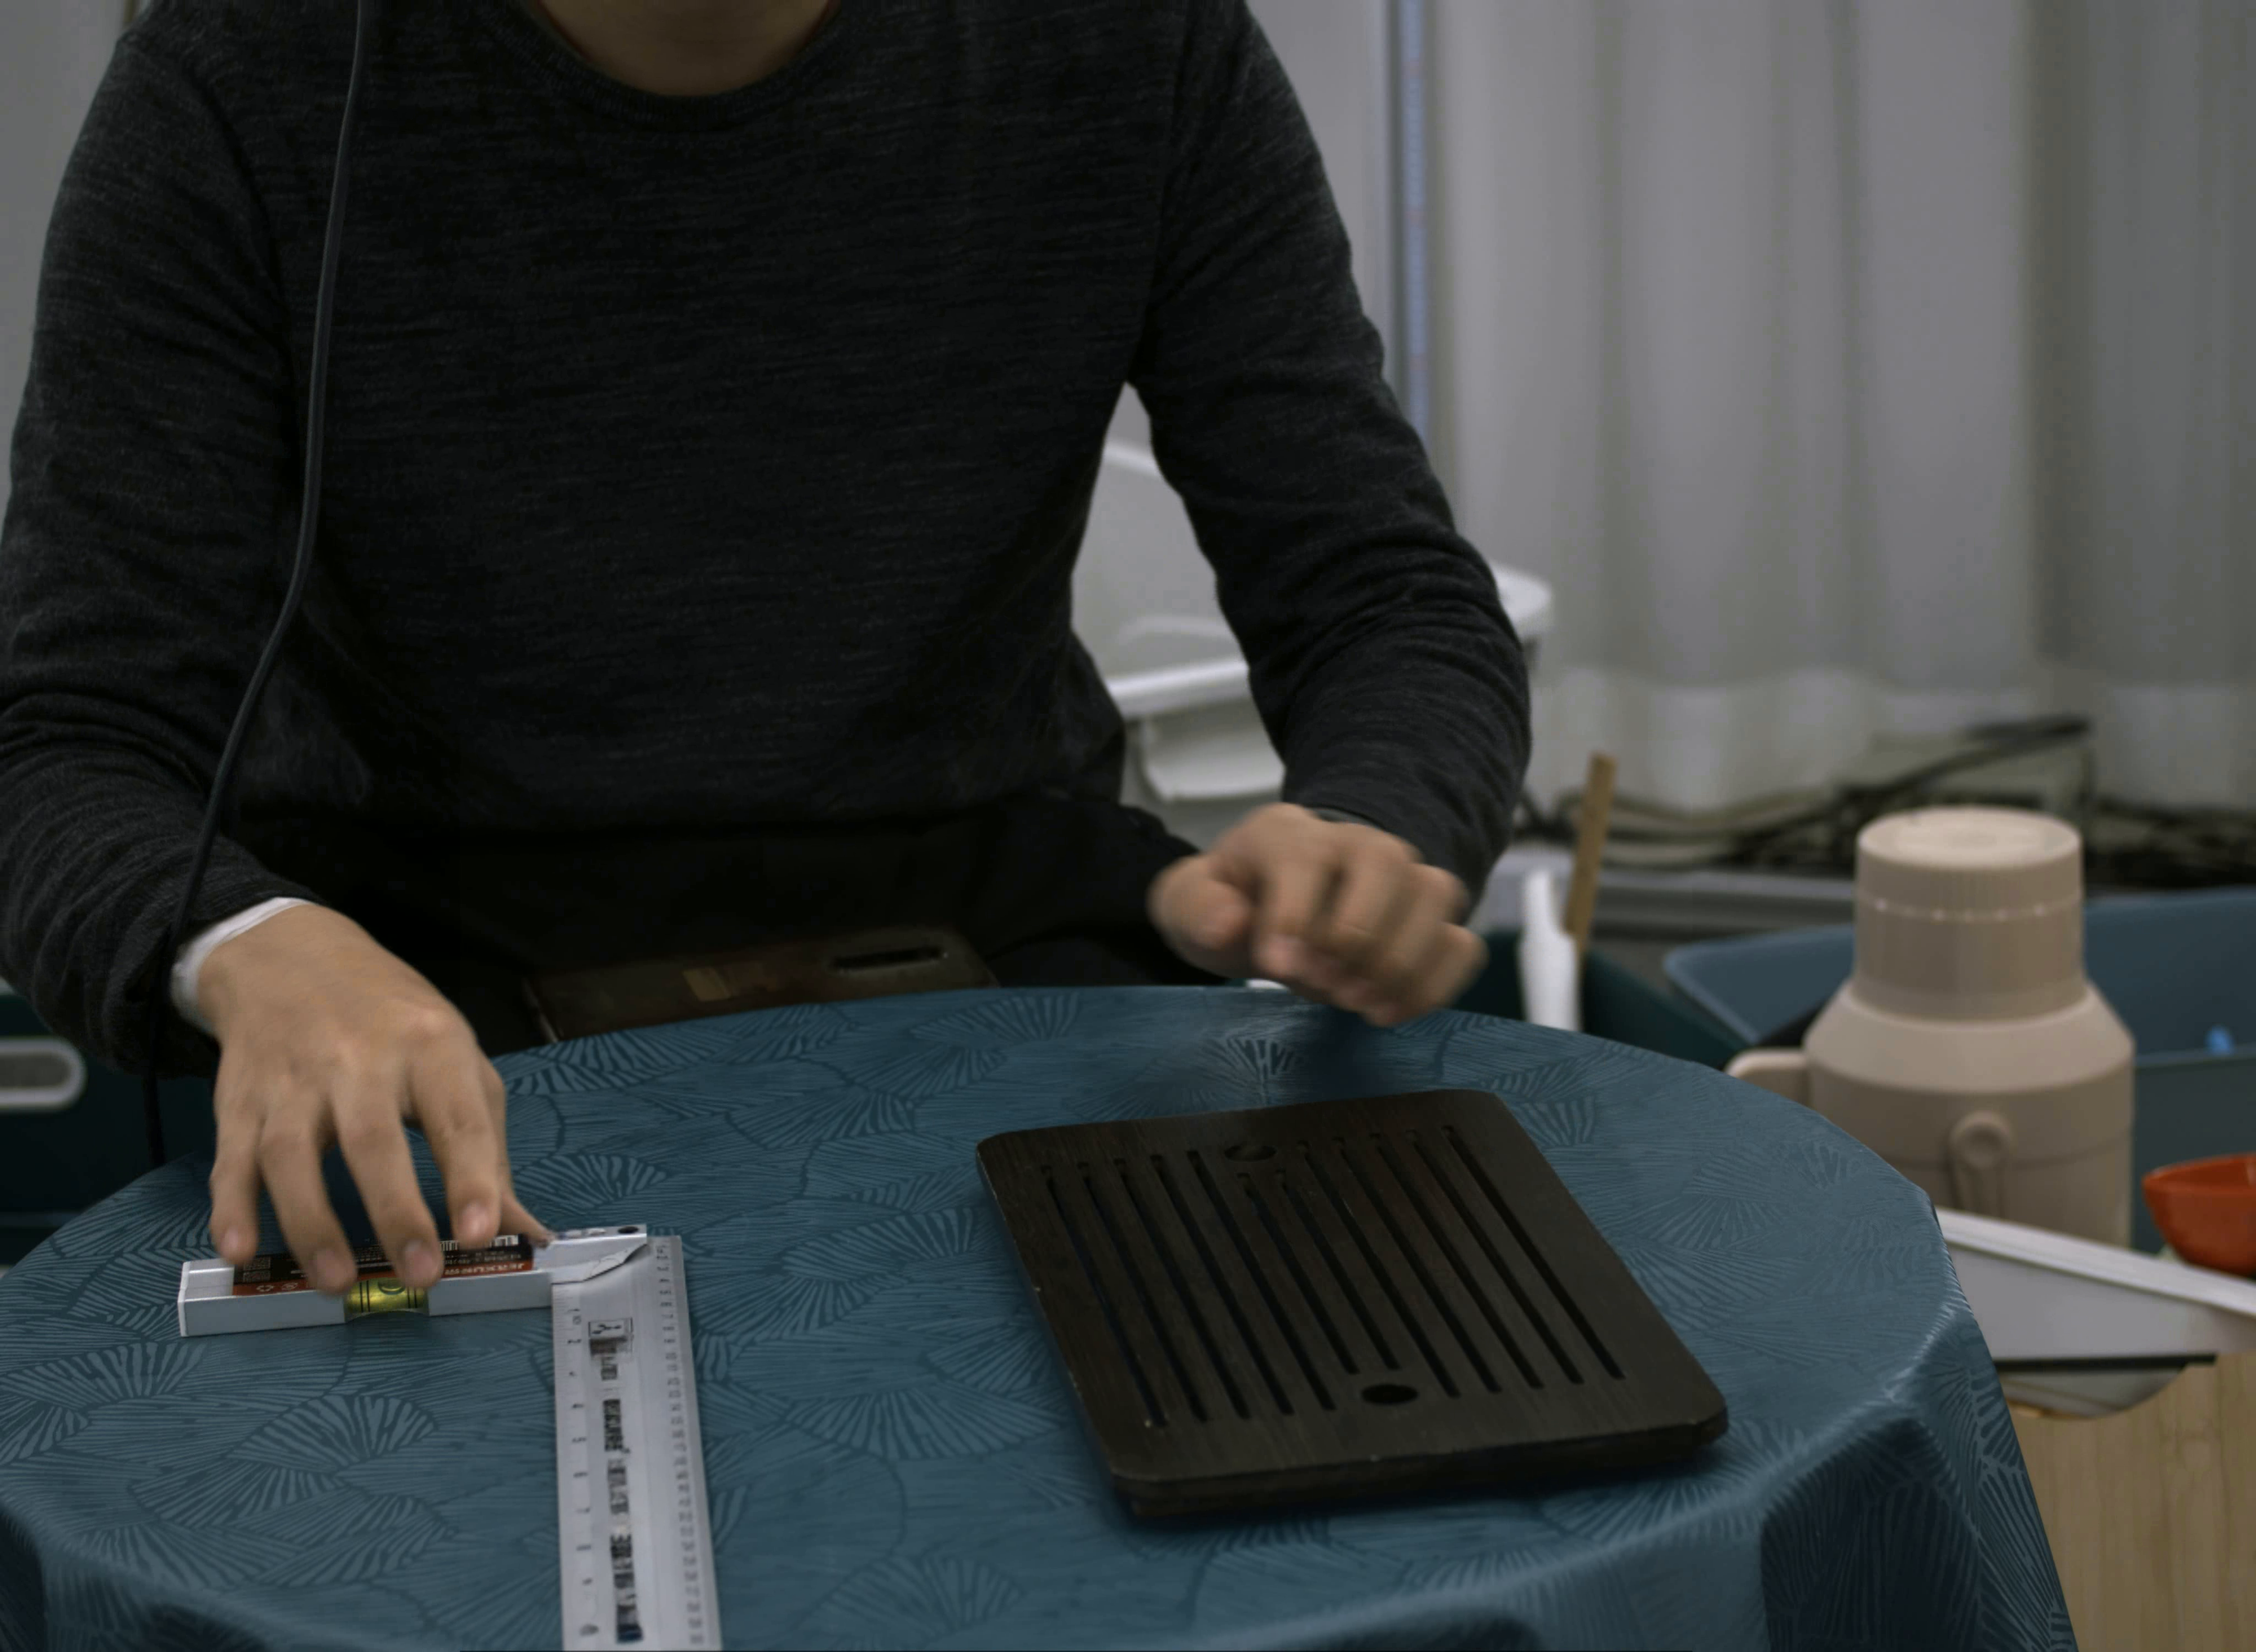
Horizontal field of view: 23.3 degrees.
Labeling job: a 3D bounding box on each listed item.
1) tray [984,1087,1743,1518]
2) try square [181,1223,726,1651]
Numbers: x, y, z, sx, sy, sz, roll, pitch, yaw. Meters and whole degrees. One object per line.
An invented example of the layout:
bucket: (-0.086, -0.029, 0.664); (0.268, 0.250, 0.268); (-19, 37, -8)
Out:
tray: (0.060, 0.135, 1.590); (0.169, 0.018, 0.308); (-5, 15, -8)
try square: (-0.193, 0.172, 1.518); (0.151, 0.016, 0.315); (-4, 16, -5)
